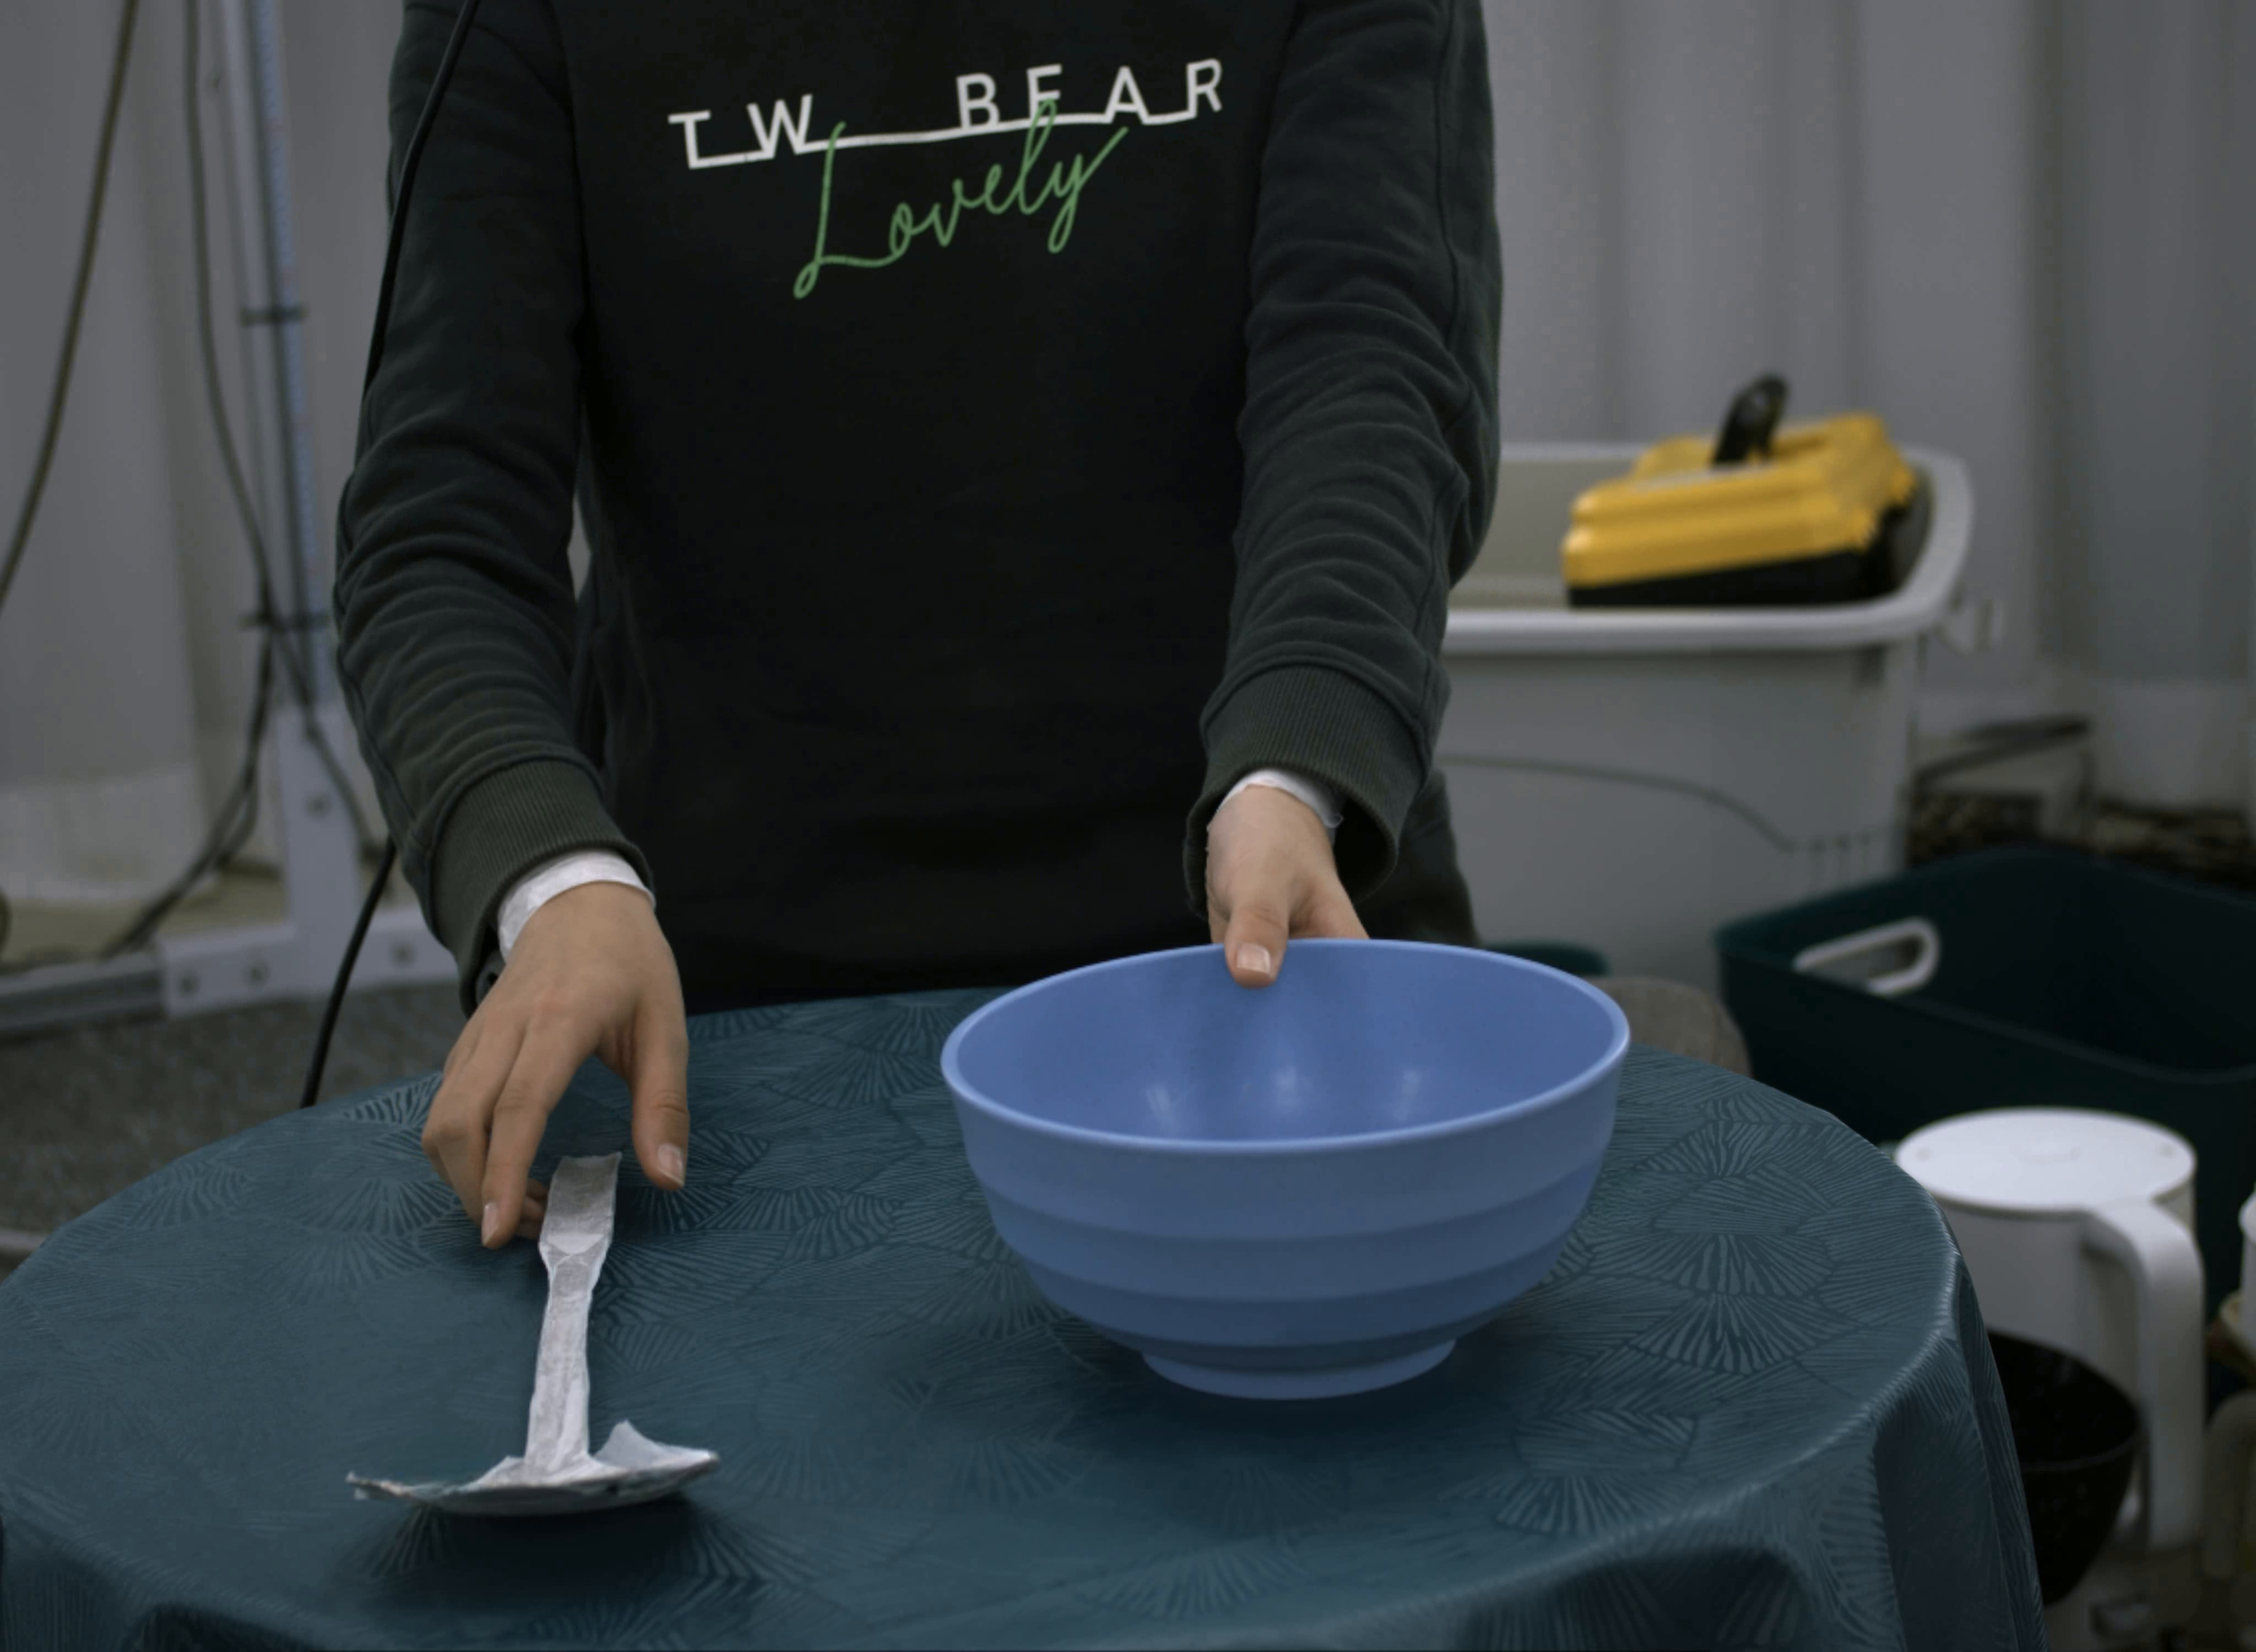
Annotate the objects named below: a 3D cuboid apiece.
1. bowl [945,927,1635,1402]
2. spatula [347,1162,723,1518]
[{"bbox_3d":[0.048,0.103,1.562,0.196,0.095,0.198,-3,17,1],"label":"bowl"},{"bbox_3d":[-0.159,0.139,1.577,0.098,0.044,0.367,-5,15,-1],"label":"spatula"}]
